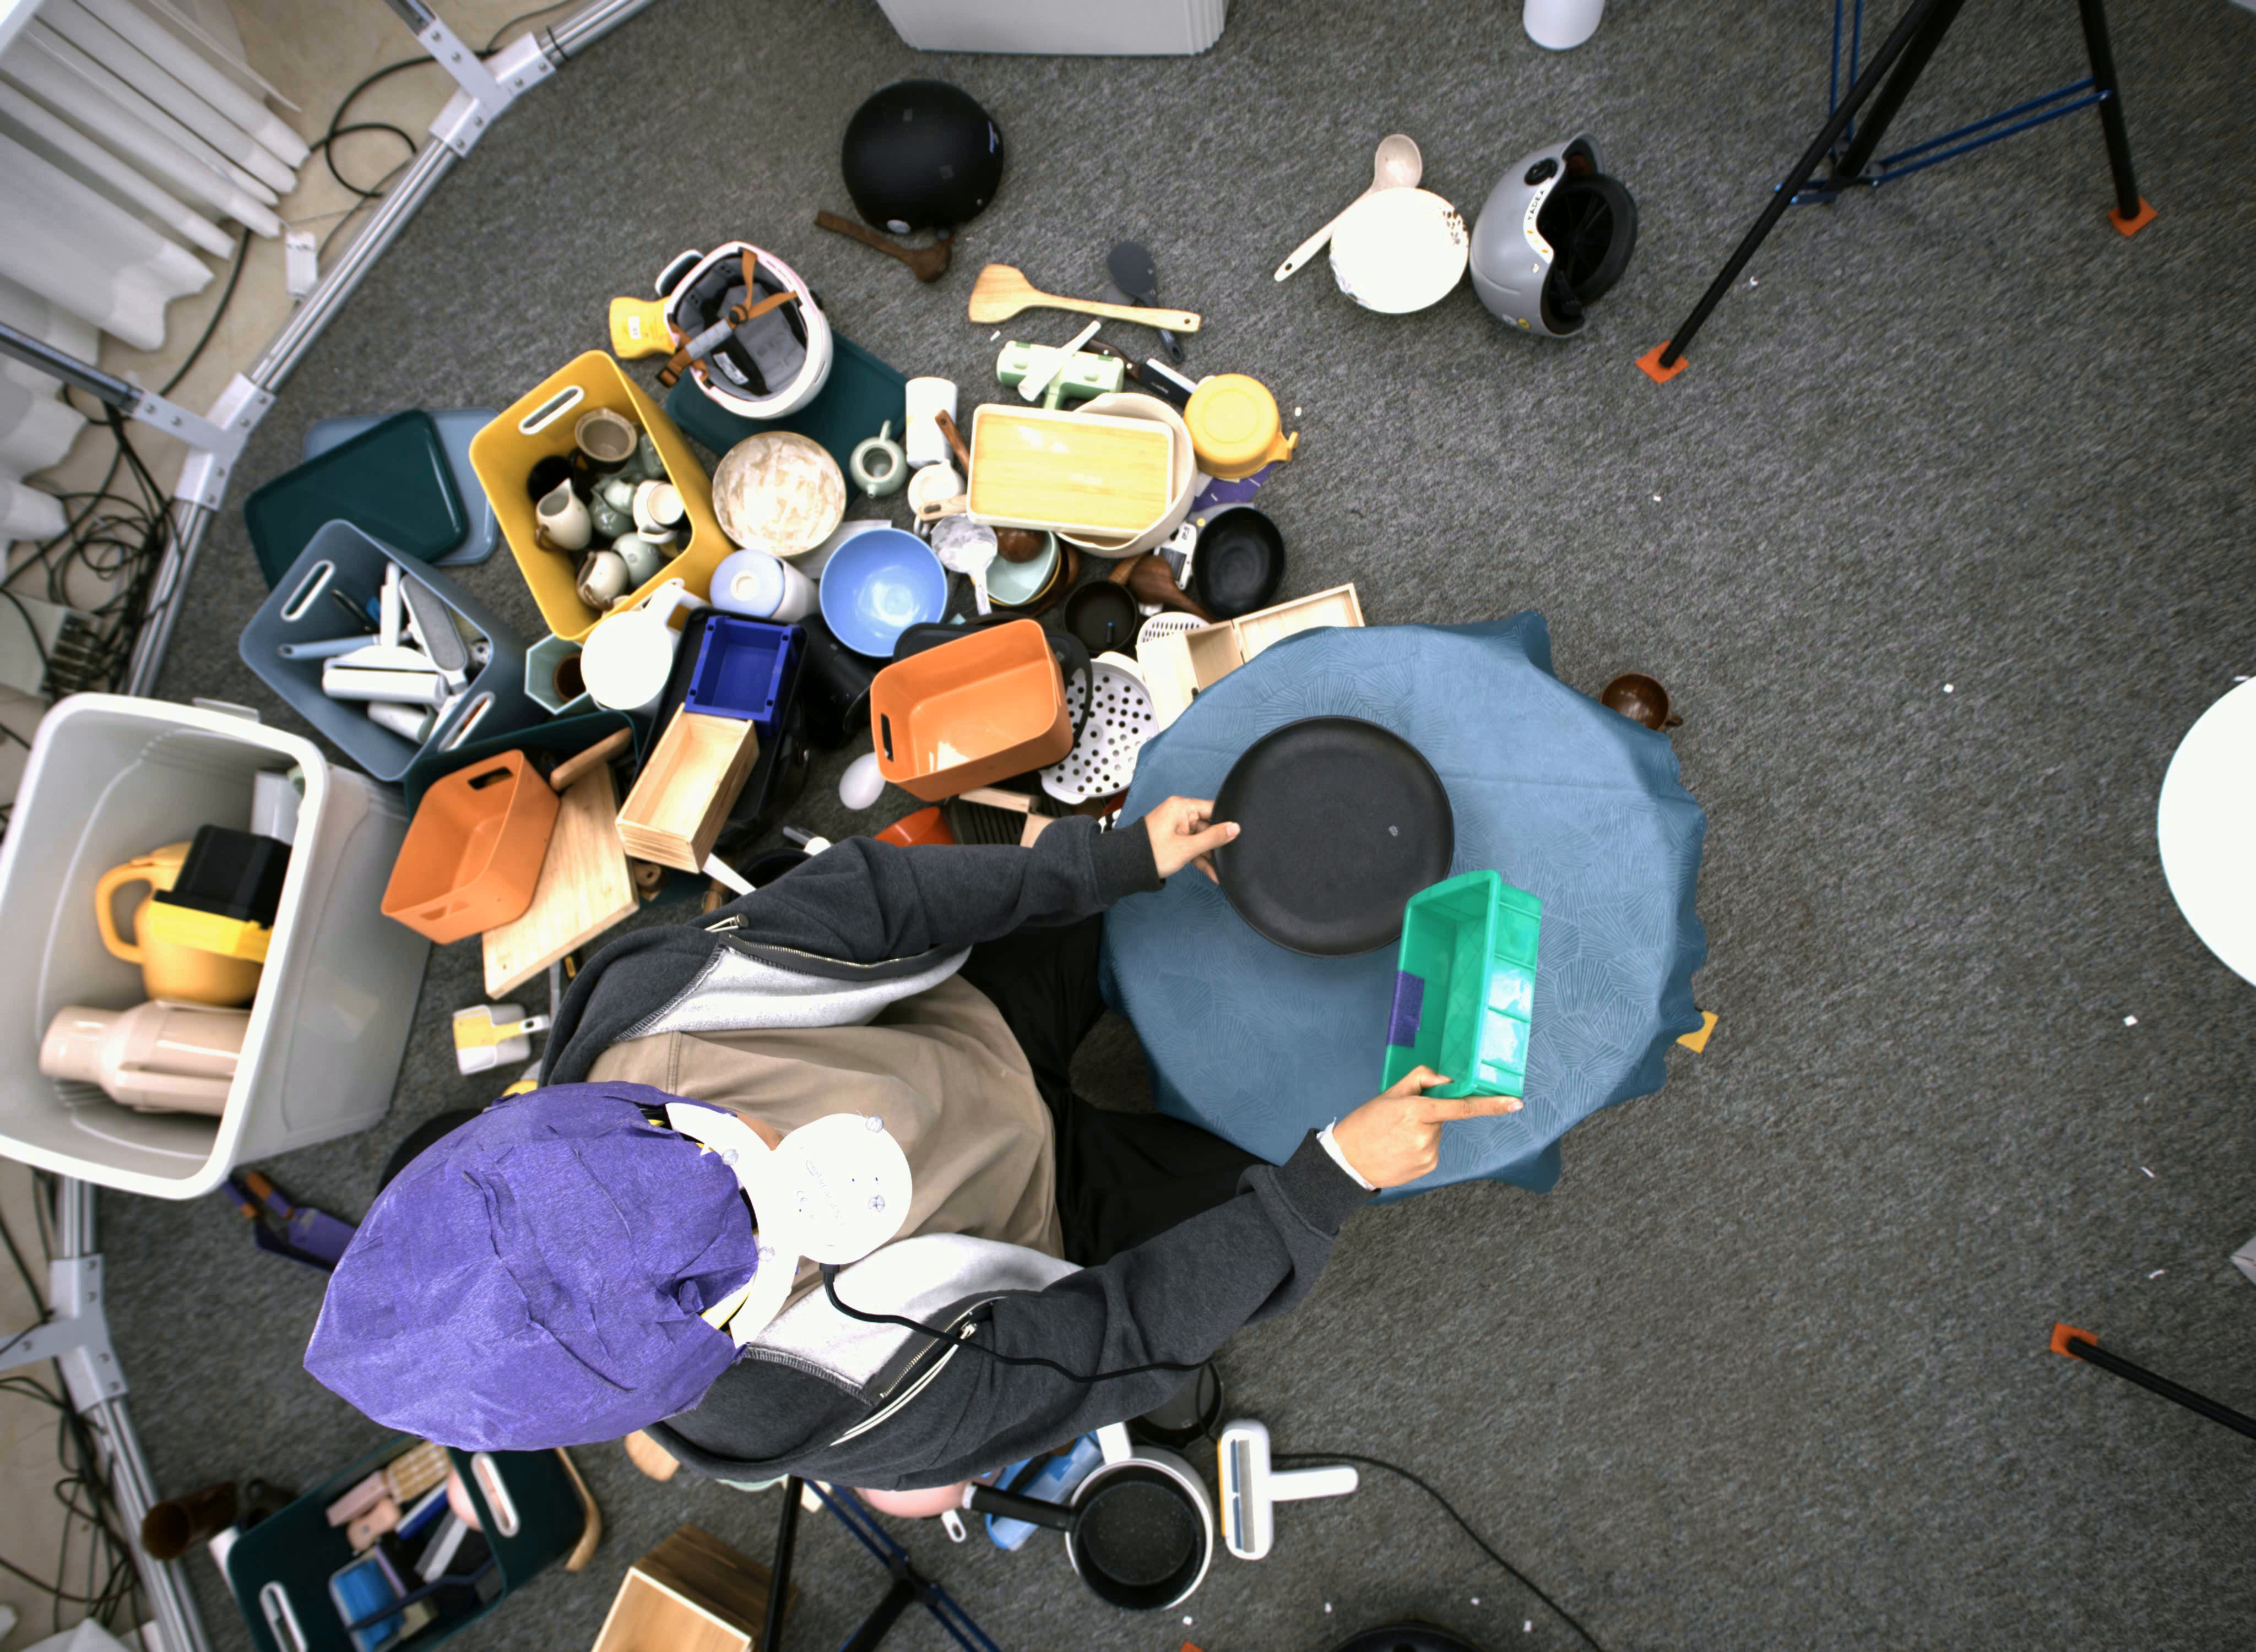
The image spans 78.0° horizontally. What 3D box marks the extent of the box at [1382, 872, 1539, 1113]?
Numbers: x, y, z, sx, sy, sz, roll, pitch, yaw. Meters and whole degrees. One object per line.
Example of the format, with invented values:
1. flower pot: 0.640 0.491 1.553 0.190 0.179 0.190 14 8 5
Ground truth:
1. box: 0.300 0.154 1.234 0.065 0.141 0.207 16 70 -18

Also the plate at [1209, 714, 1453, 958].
1. plate: 0.203 0.009 1.386 0.245 0.023 0.244 0 91 5
